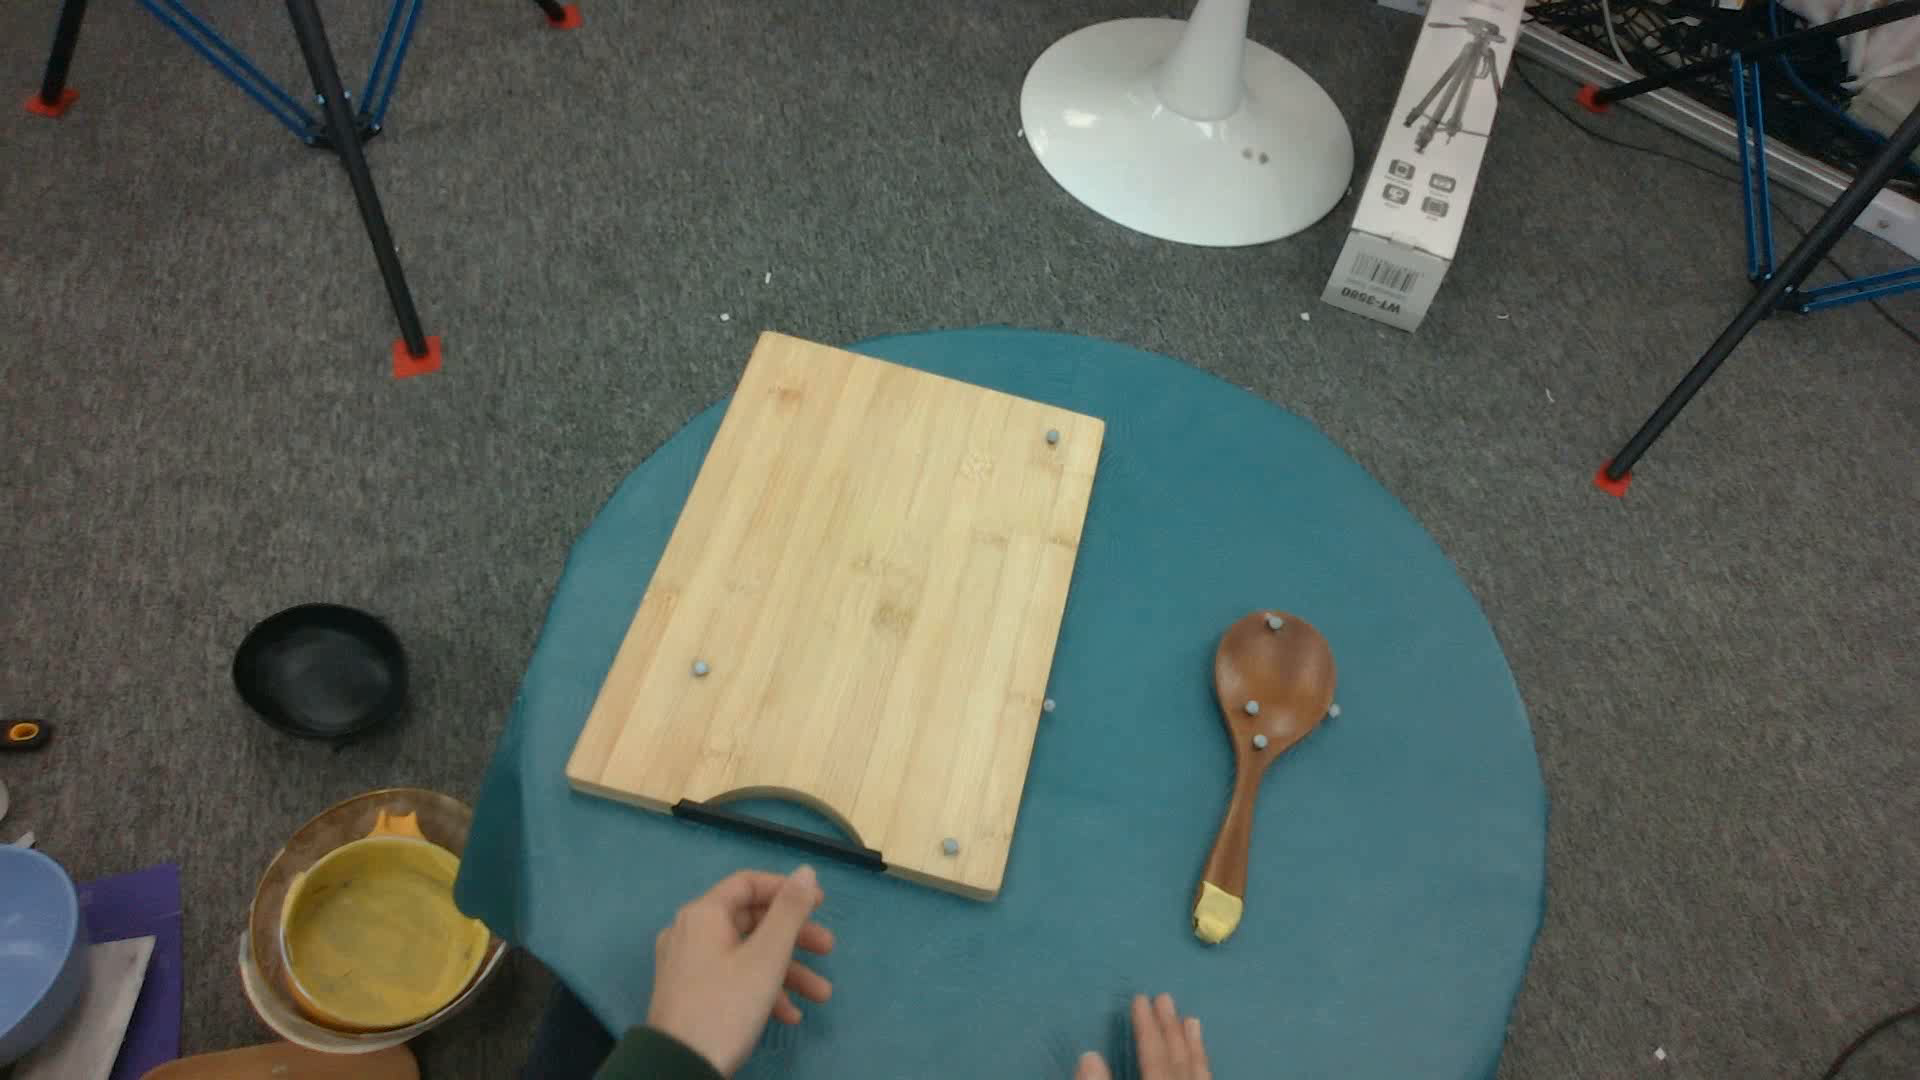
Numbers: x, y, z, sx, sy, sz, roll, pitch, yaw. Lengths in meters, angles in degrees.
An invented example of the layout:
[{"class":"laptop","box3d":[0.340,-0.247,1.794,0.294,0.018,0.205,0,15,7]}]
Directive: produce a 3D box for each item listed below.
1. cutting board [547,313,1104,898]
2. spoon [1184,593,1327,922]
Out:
[{"class":"cutting board","box3d":[-0.062,0.020,0.829,0.251,0.023,0.350,14,55,1]},{"class":"spoon","box3d":[0.164,0.121,0.798,0.075,0.017,0.217,21,55,3]}]
